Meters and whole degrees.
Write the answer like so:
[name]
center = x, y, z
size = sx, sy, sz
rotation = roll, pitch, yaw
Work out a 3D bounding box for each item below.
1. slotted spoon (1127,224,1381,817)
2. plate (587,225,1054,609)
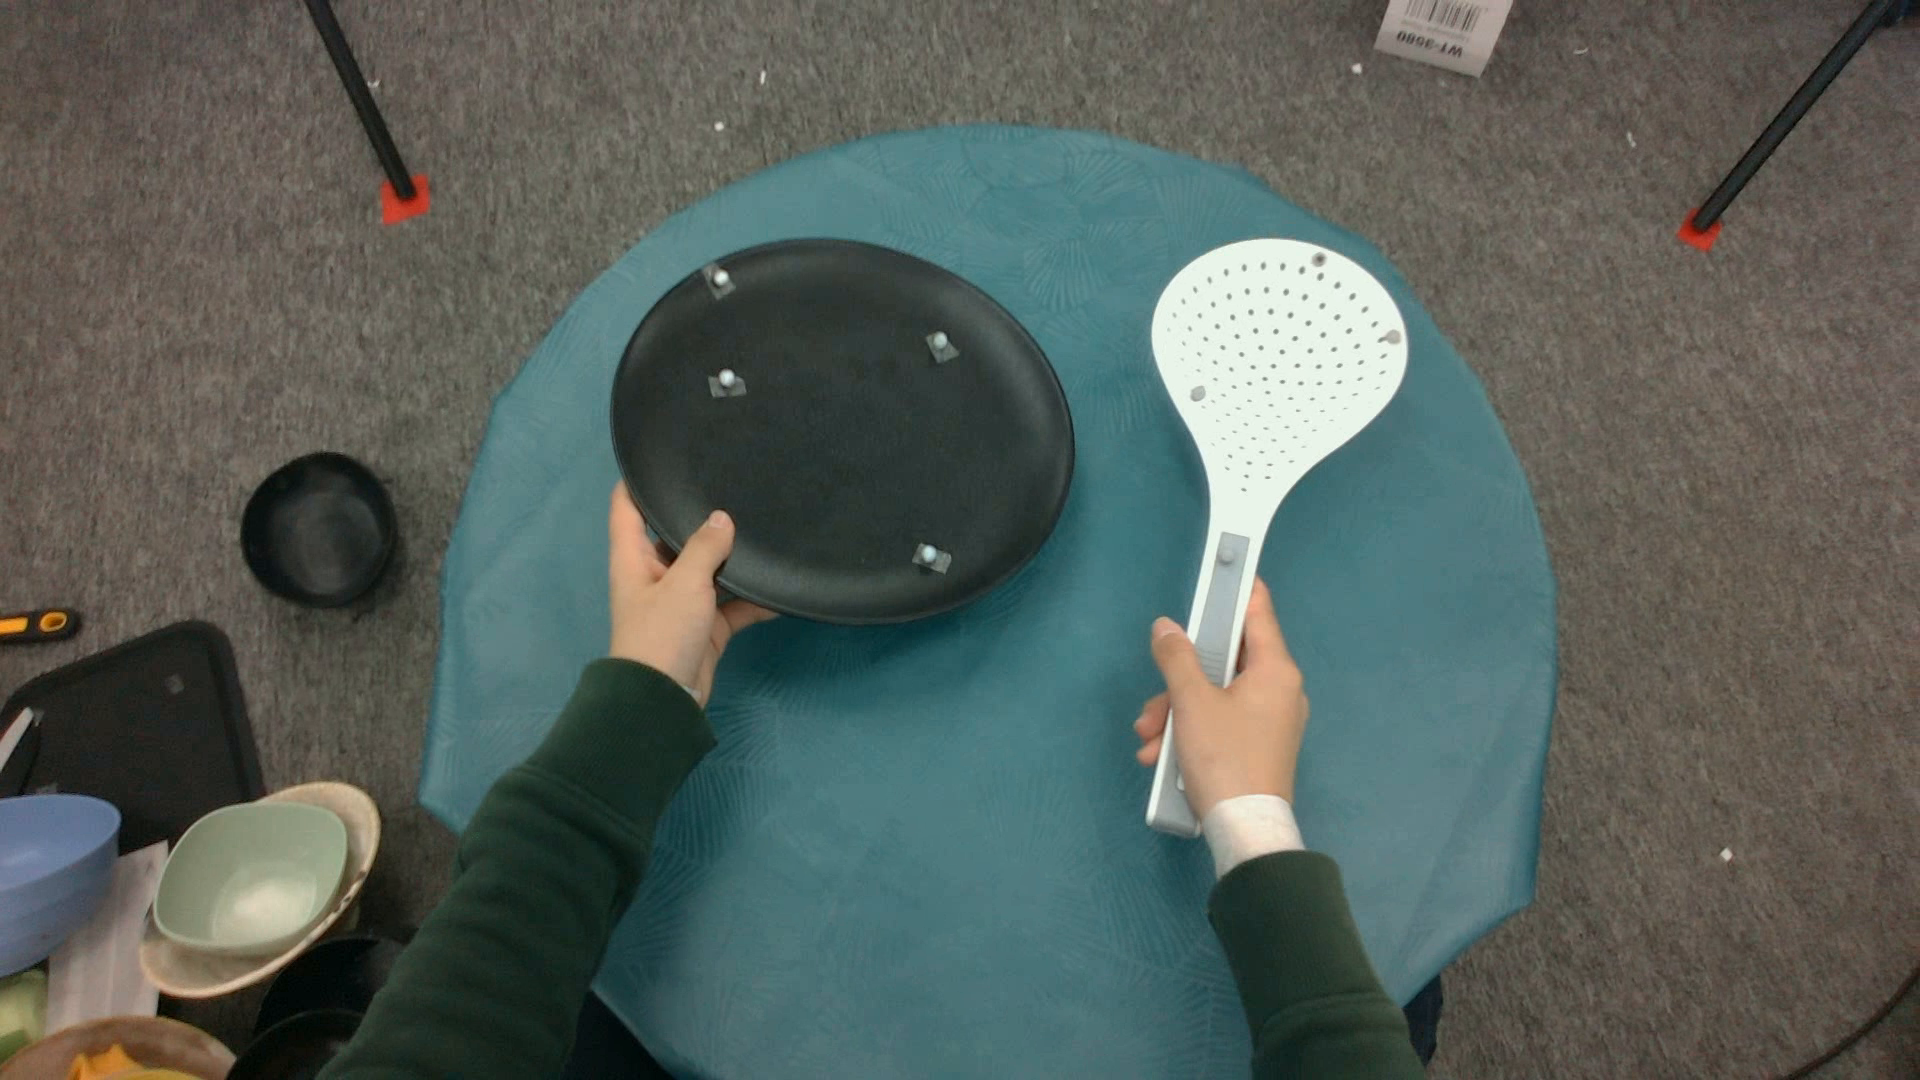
[slotted spoon]
center = 0.135, -0.025, 0.710
size = 0.136, 0.045, 0.351
rotation = 13, 58, 8
[plate]
center = -0.070, -0.069, 0.726
size = 0.244, 0.023, 0.245
rotation = 6, 58, -10
